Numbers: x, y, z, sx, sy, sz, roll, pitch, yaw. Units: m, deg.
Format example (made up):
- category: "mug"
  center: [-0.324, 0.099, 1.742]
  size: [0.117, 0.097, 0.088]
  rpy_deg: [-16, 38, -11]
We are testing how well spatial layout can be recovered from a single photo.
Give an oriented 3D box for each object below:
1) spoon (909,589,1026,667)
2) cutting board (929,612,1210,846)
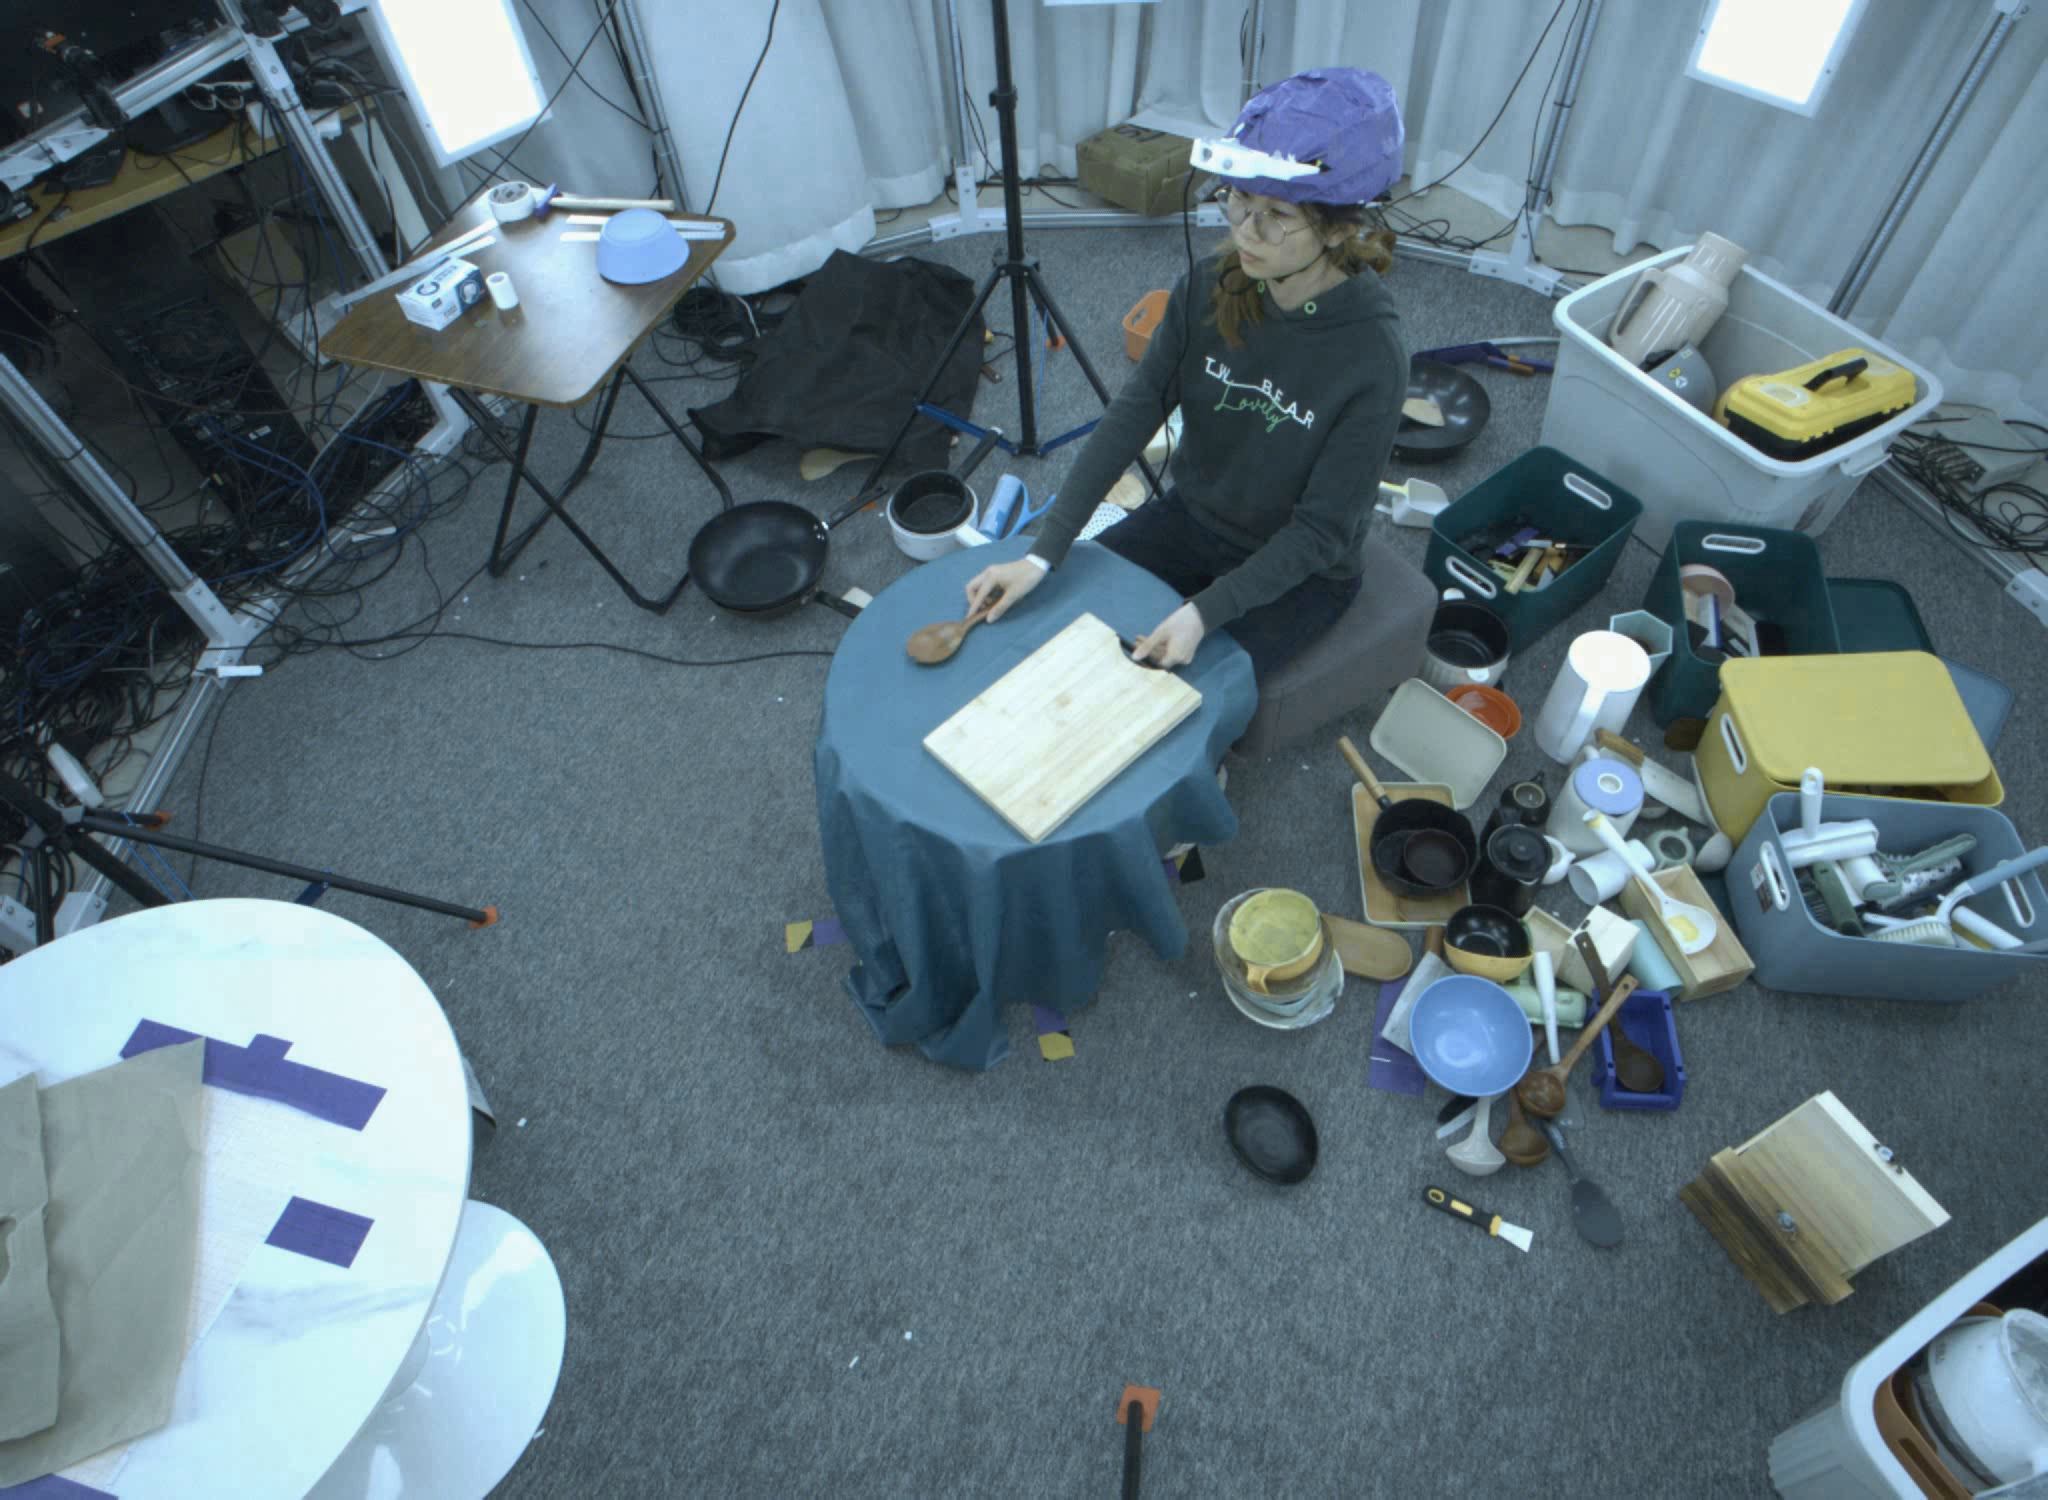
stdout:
- category: "spoon"
  center: [-0.086, -0.193, 1.925]
  size: [0.217, 0.017, 0.074]
  rpy_deg: [-34, 59, -20]
- category: "cutting board"
  center: [0.065, -0.041, 1.808]
  size: [0.351, 0.024, 0.246]
  rpy_deg: [-40, 64, -21]
